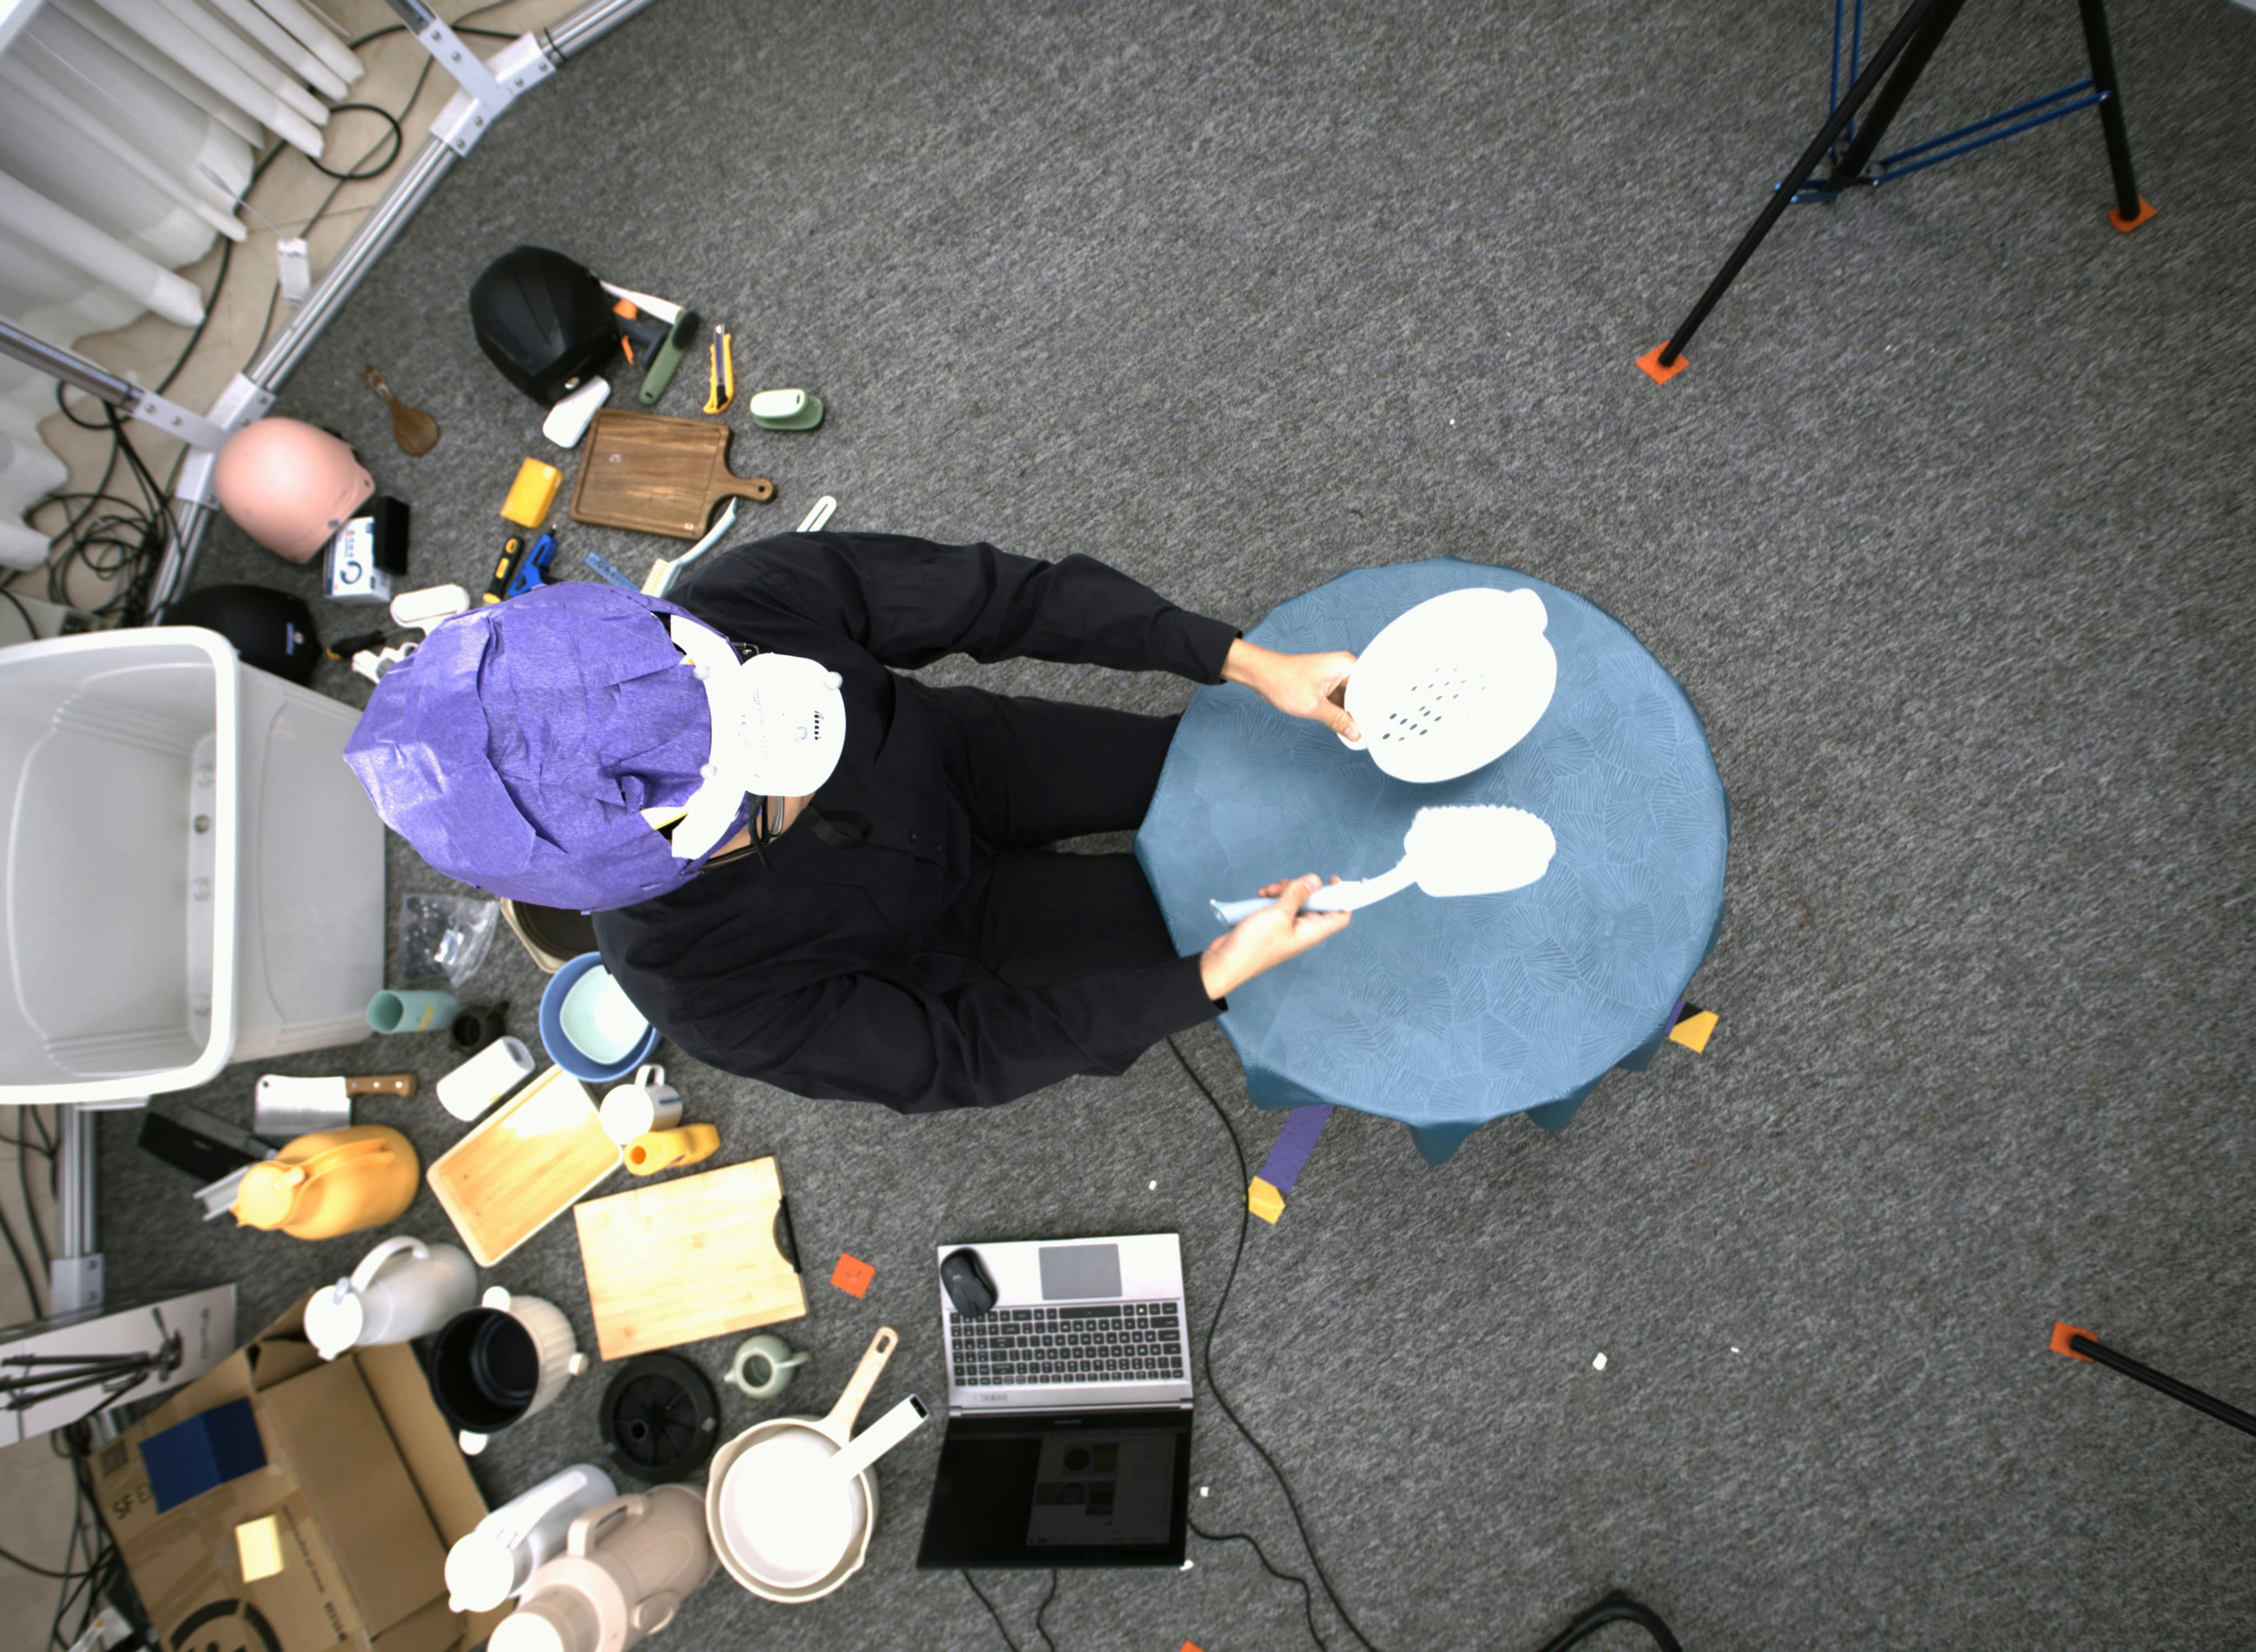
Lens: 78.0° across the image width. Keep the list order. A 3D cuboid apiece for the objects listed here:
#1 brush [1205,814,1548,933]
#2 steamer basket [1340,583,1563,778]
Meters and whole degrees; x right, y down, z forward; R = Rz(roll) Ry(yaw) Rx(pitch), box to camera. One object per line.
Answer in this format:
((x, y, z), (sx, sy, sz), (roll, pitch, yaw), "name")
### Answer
((0.226, 0.039, 1.288), (0.329, 0.084, 0.082), (-11, 83, 25), "brush")
((0.312, -0.133, 1.296), (0.233, 0.203, 0.068), (-37, 51, 18), "steamer basket")
